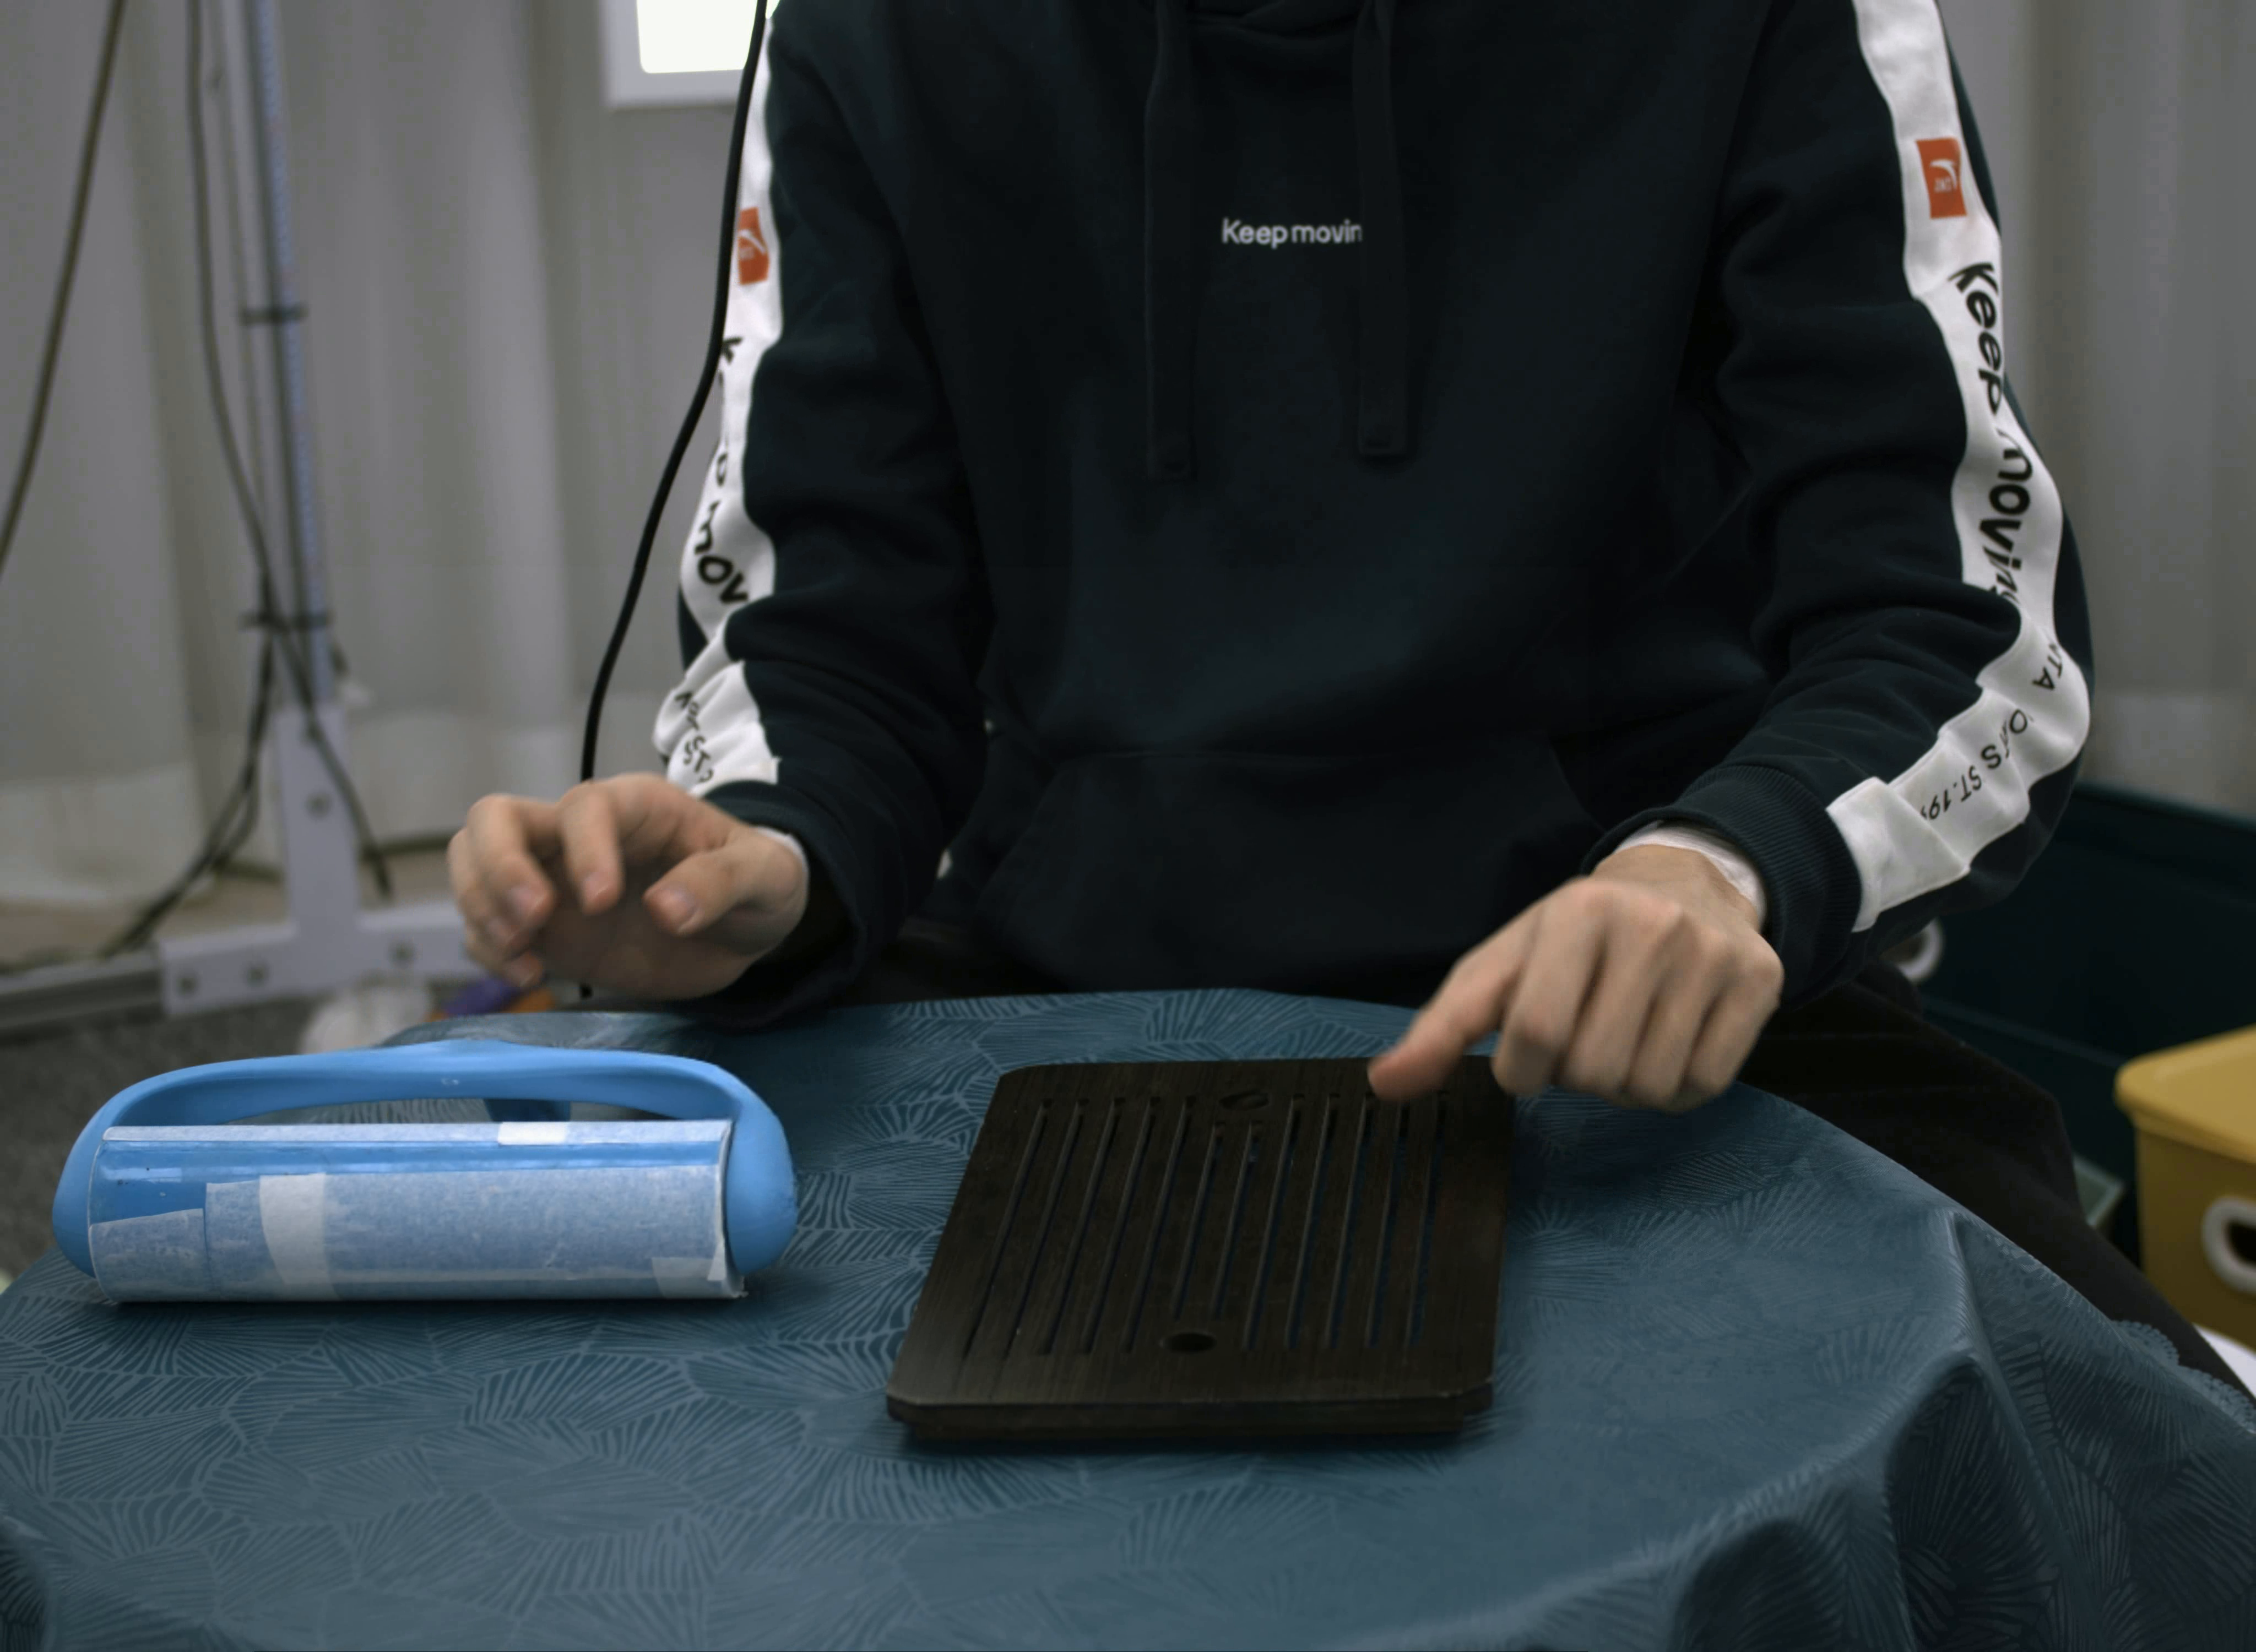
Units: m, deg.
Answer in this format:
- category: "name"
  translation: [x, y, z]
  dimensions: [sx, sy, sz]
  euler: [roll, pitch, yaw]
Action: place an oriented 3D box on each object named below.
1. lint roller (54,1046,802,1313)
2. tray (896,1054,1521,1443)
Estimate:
- category: "lint roller"
  translation: [-0.207, 0.099, 1.703]
  dimensions: [0.228, 0.067, 0.181]
  euler: [-4, 17, 5]
- category: "tray"
  translation: [0.032, 0.124, 1.637]
  dimensions: [0.170, 0.018, 0.308]
  euler: [-2, 15, 6]
